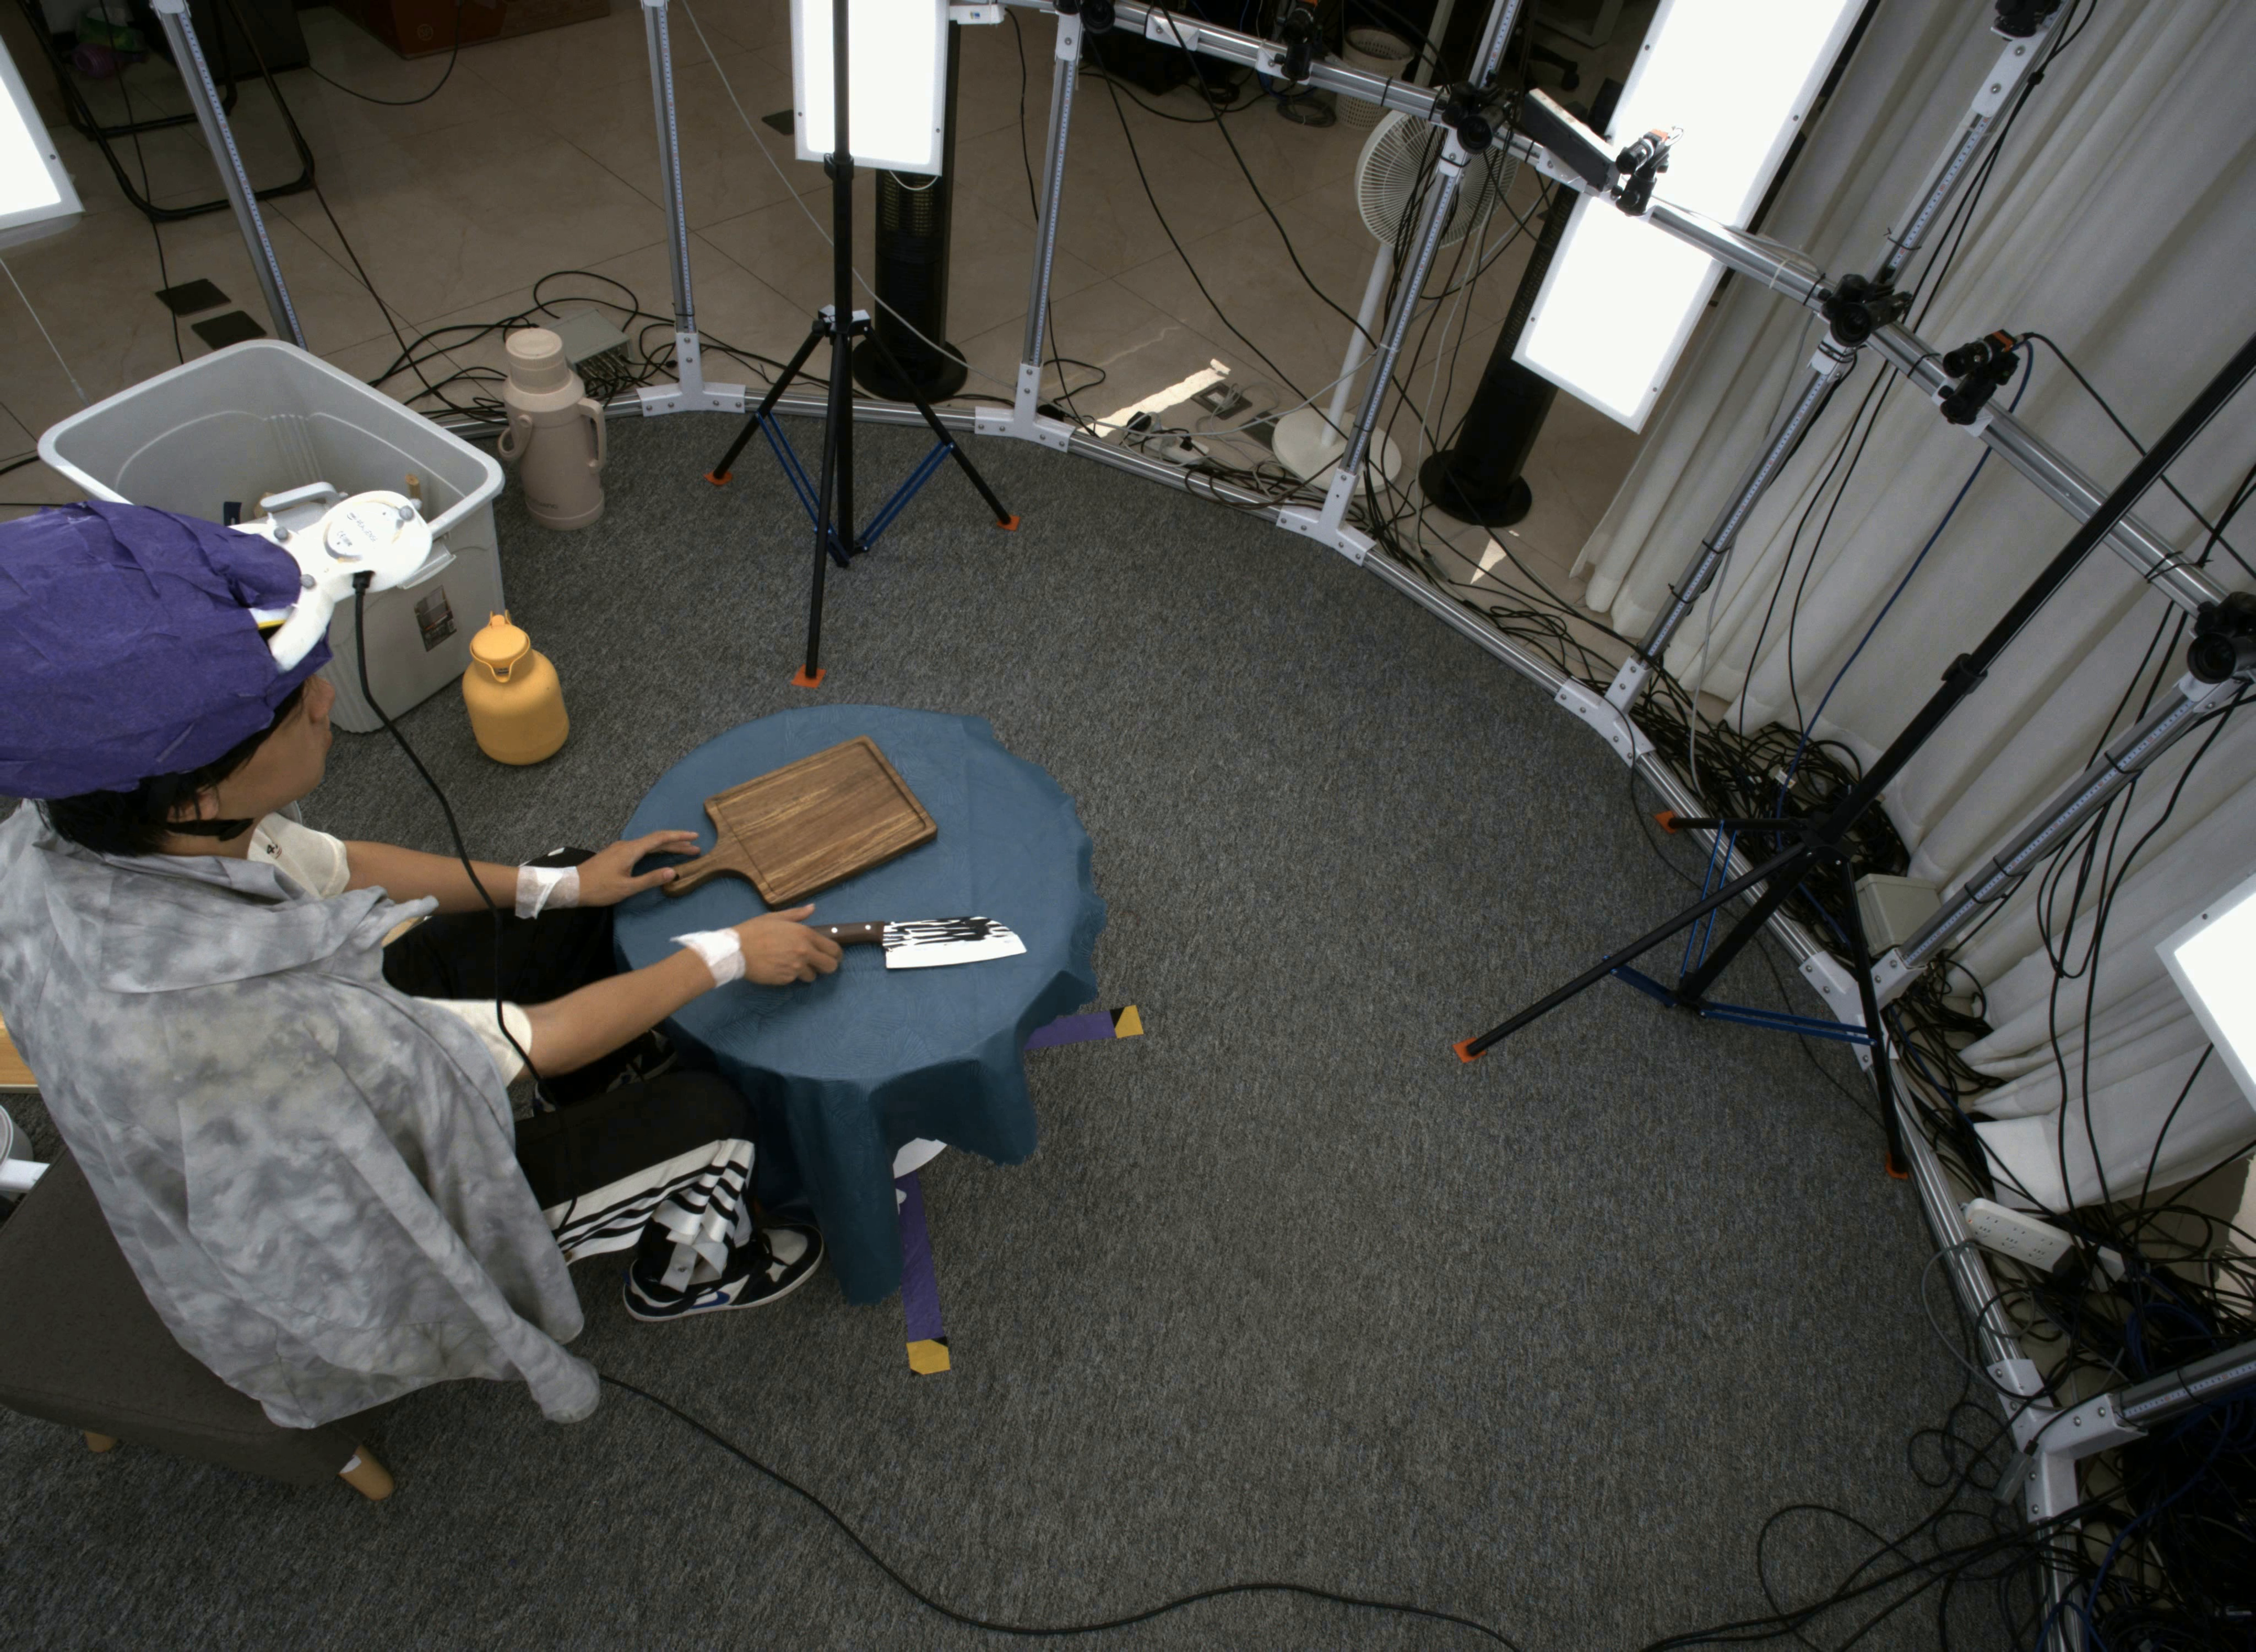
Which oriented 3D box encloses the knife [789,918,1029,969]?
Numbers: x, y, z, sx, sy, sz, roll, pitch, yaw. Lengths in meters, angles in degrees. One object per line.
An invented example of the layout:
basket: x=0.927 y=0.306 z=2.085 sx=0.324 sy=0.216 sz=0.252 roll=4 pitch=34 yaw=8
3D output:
knife: x=-0.273 y=0.147 z=1.641 sx=0.301 sy=0.024 sz=0.067 roll=-2 pitch=57 yaw=-19

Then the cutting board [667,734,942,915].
cutting board: x=-0.441 y=0.010 z=1.701 sx=0.353 sy=0.023 sz=0.196 roll=-27 pitch=64 yaw=-29
